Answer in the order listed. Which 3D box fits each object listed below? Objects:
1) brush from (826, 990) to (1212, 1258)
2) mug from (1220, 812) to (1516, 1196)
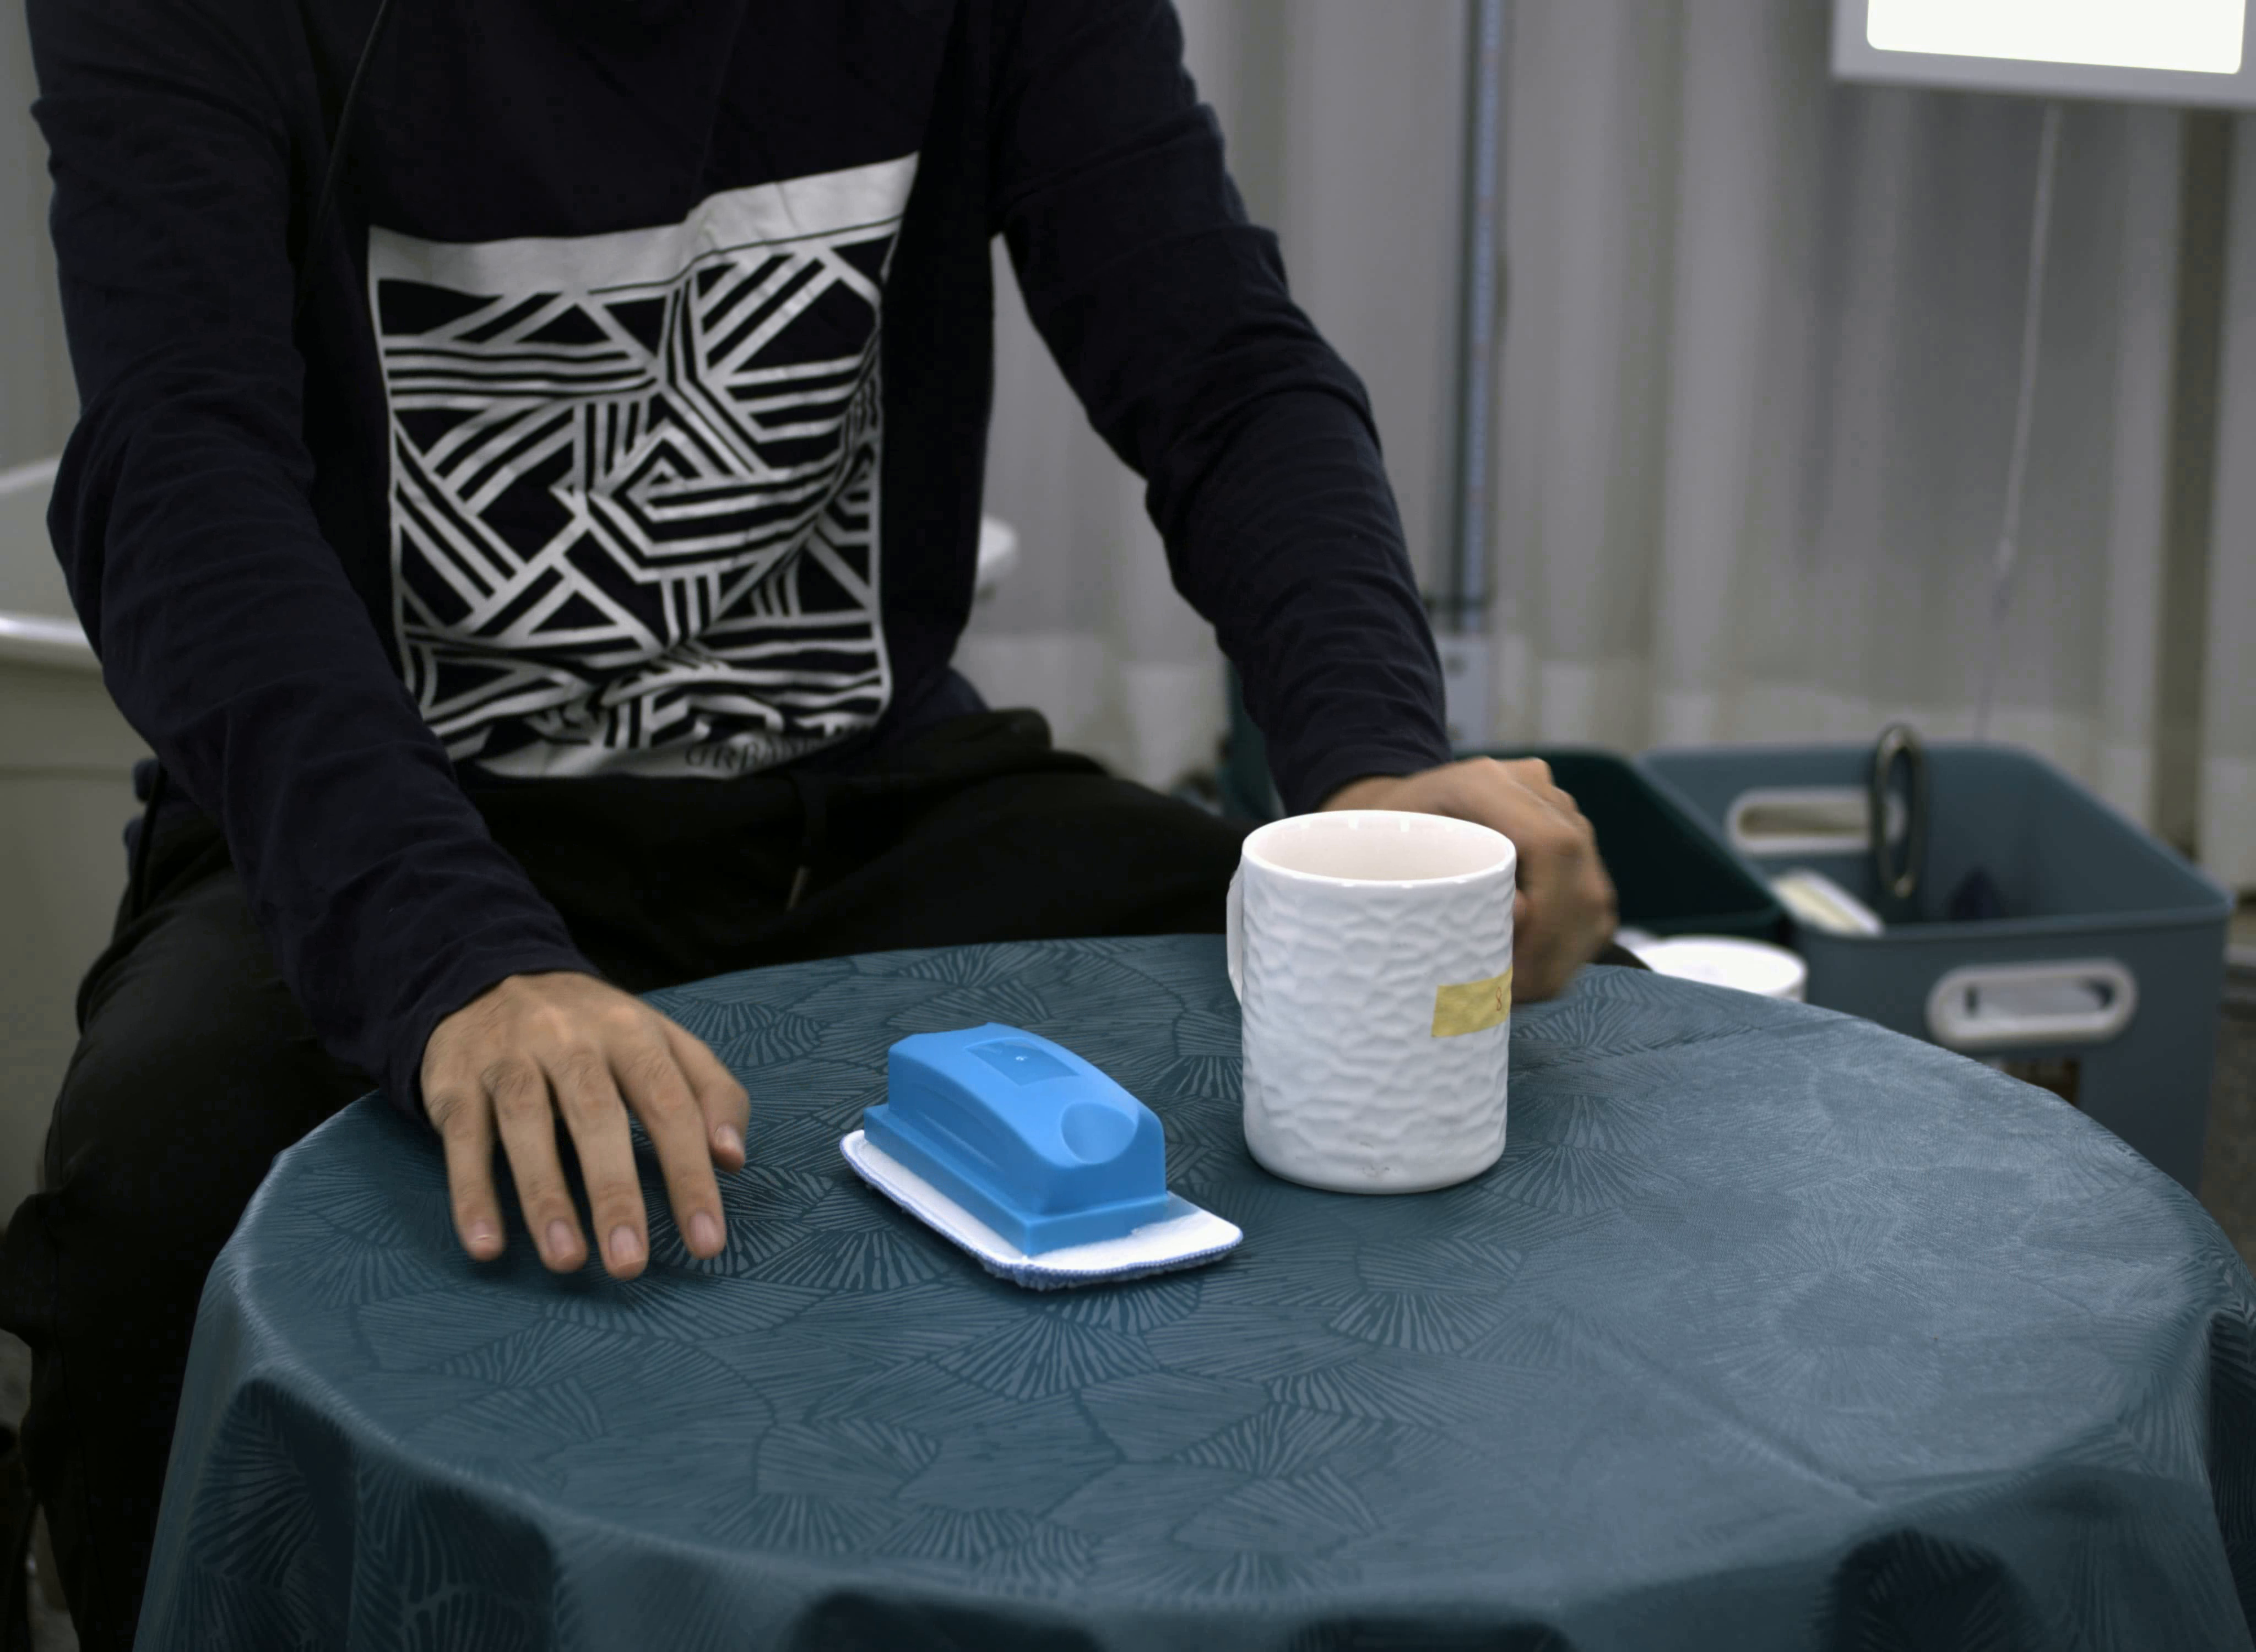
[{"bbox_3d":[-0.032,0.088,1.599,0.084,0.056,0.142,-4,19,-24],"label":"brush"},{"bbox_3d":[0.068,0.052,1.658,0.085,0.103,0.116,-11,19,-35],"label":"mug"}]
